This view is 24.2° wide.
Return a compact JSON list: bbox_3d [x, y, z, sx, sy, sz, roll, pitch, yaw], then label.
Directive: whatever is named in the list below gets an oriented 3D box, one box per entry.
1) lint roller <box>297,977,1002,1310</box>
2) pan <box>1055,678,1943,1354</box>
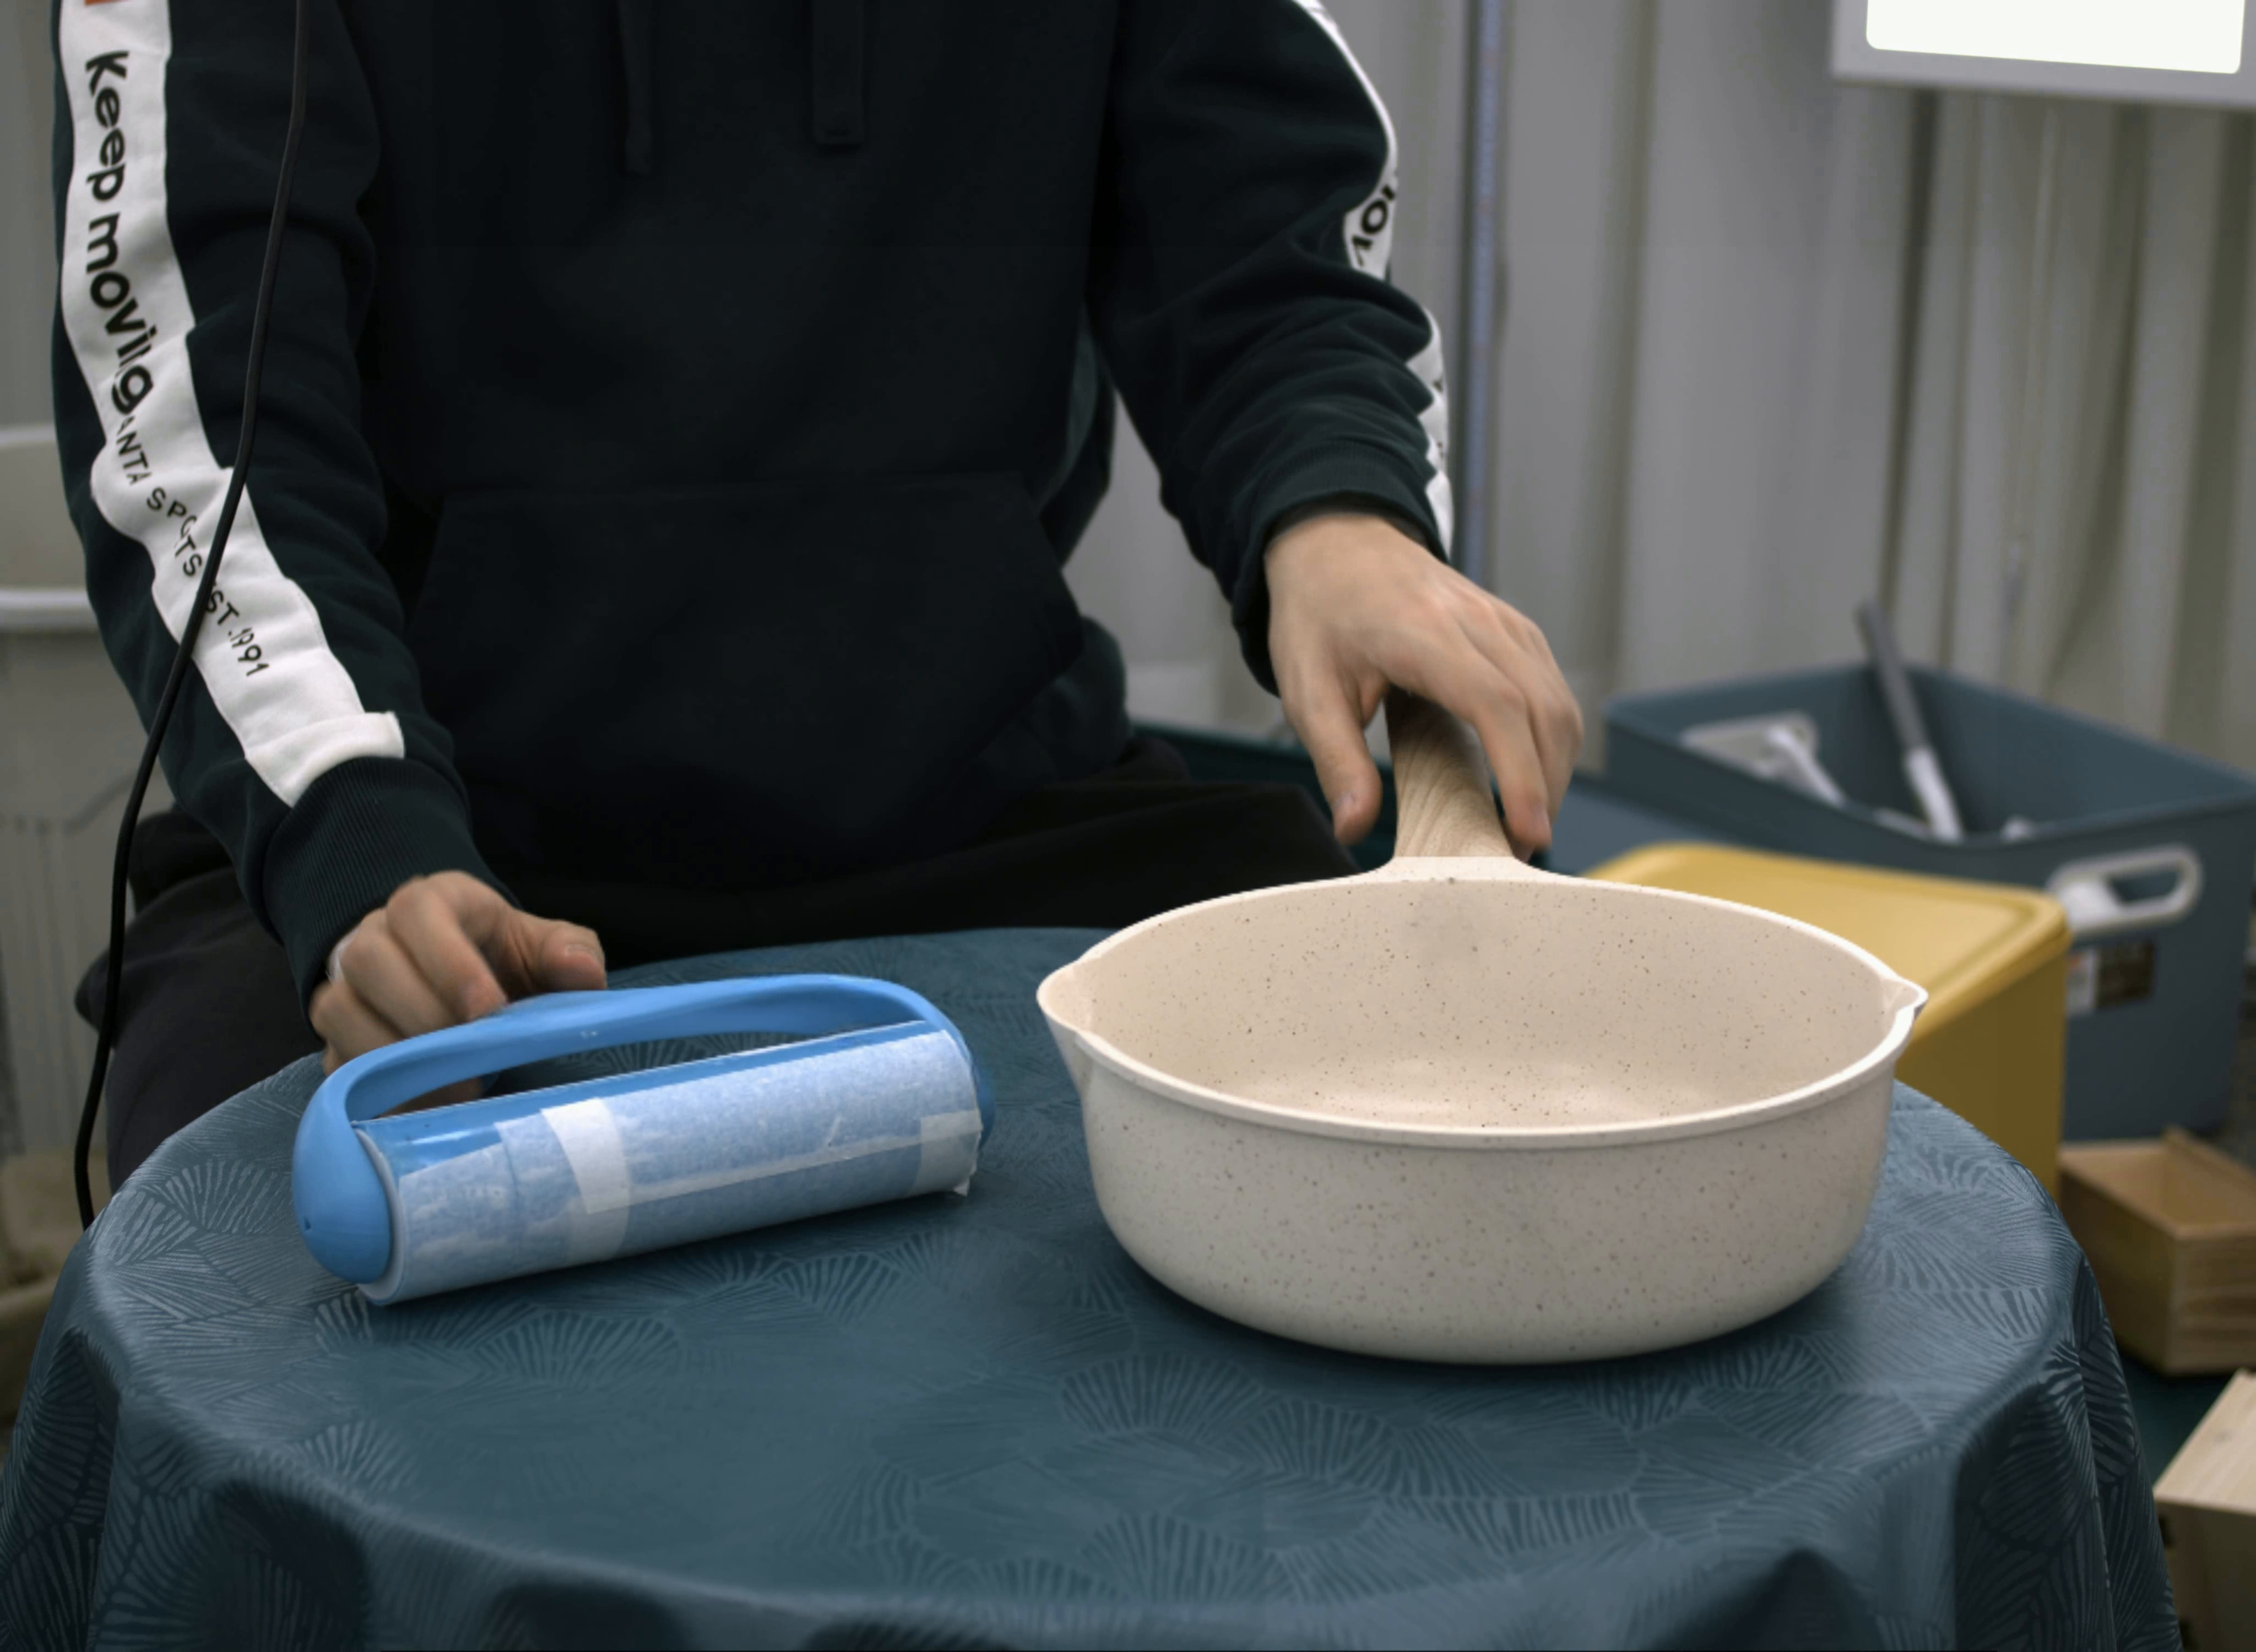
[{"bbox_3d":[-0.172,0.084,1.609,0.230,0.068,0.178,-12,21,-34],"label":"lint roller"},{"bbox_3d":[0.107,0.054,1.643,0.263,0.103,0.432,-1,15,-2],"label":"pan"}]
